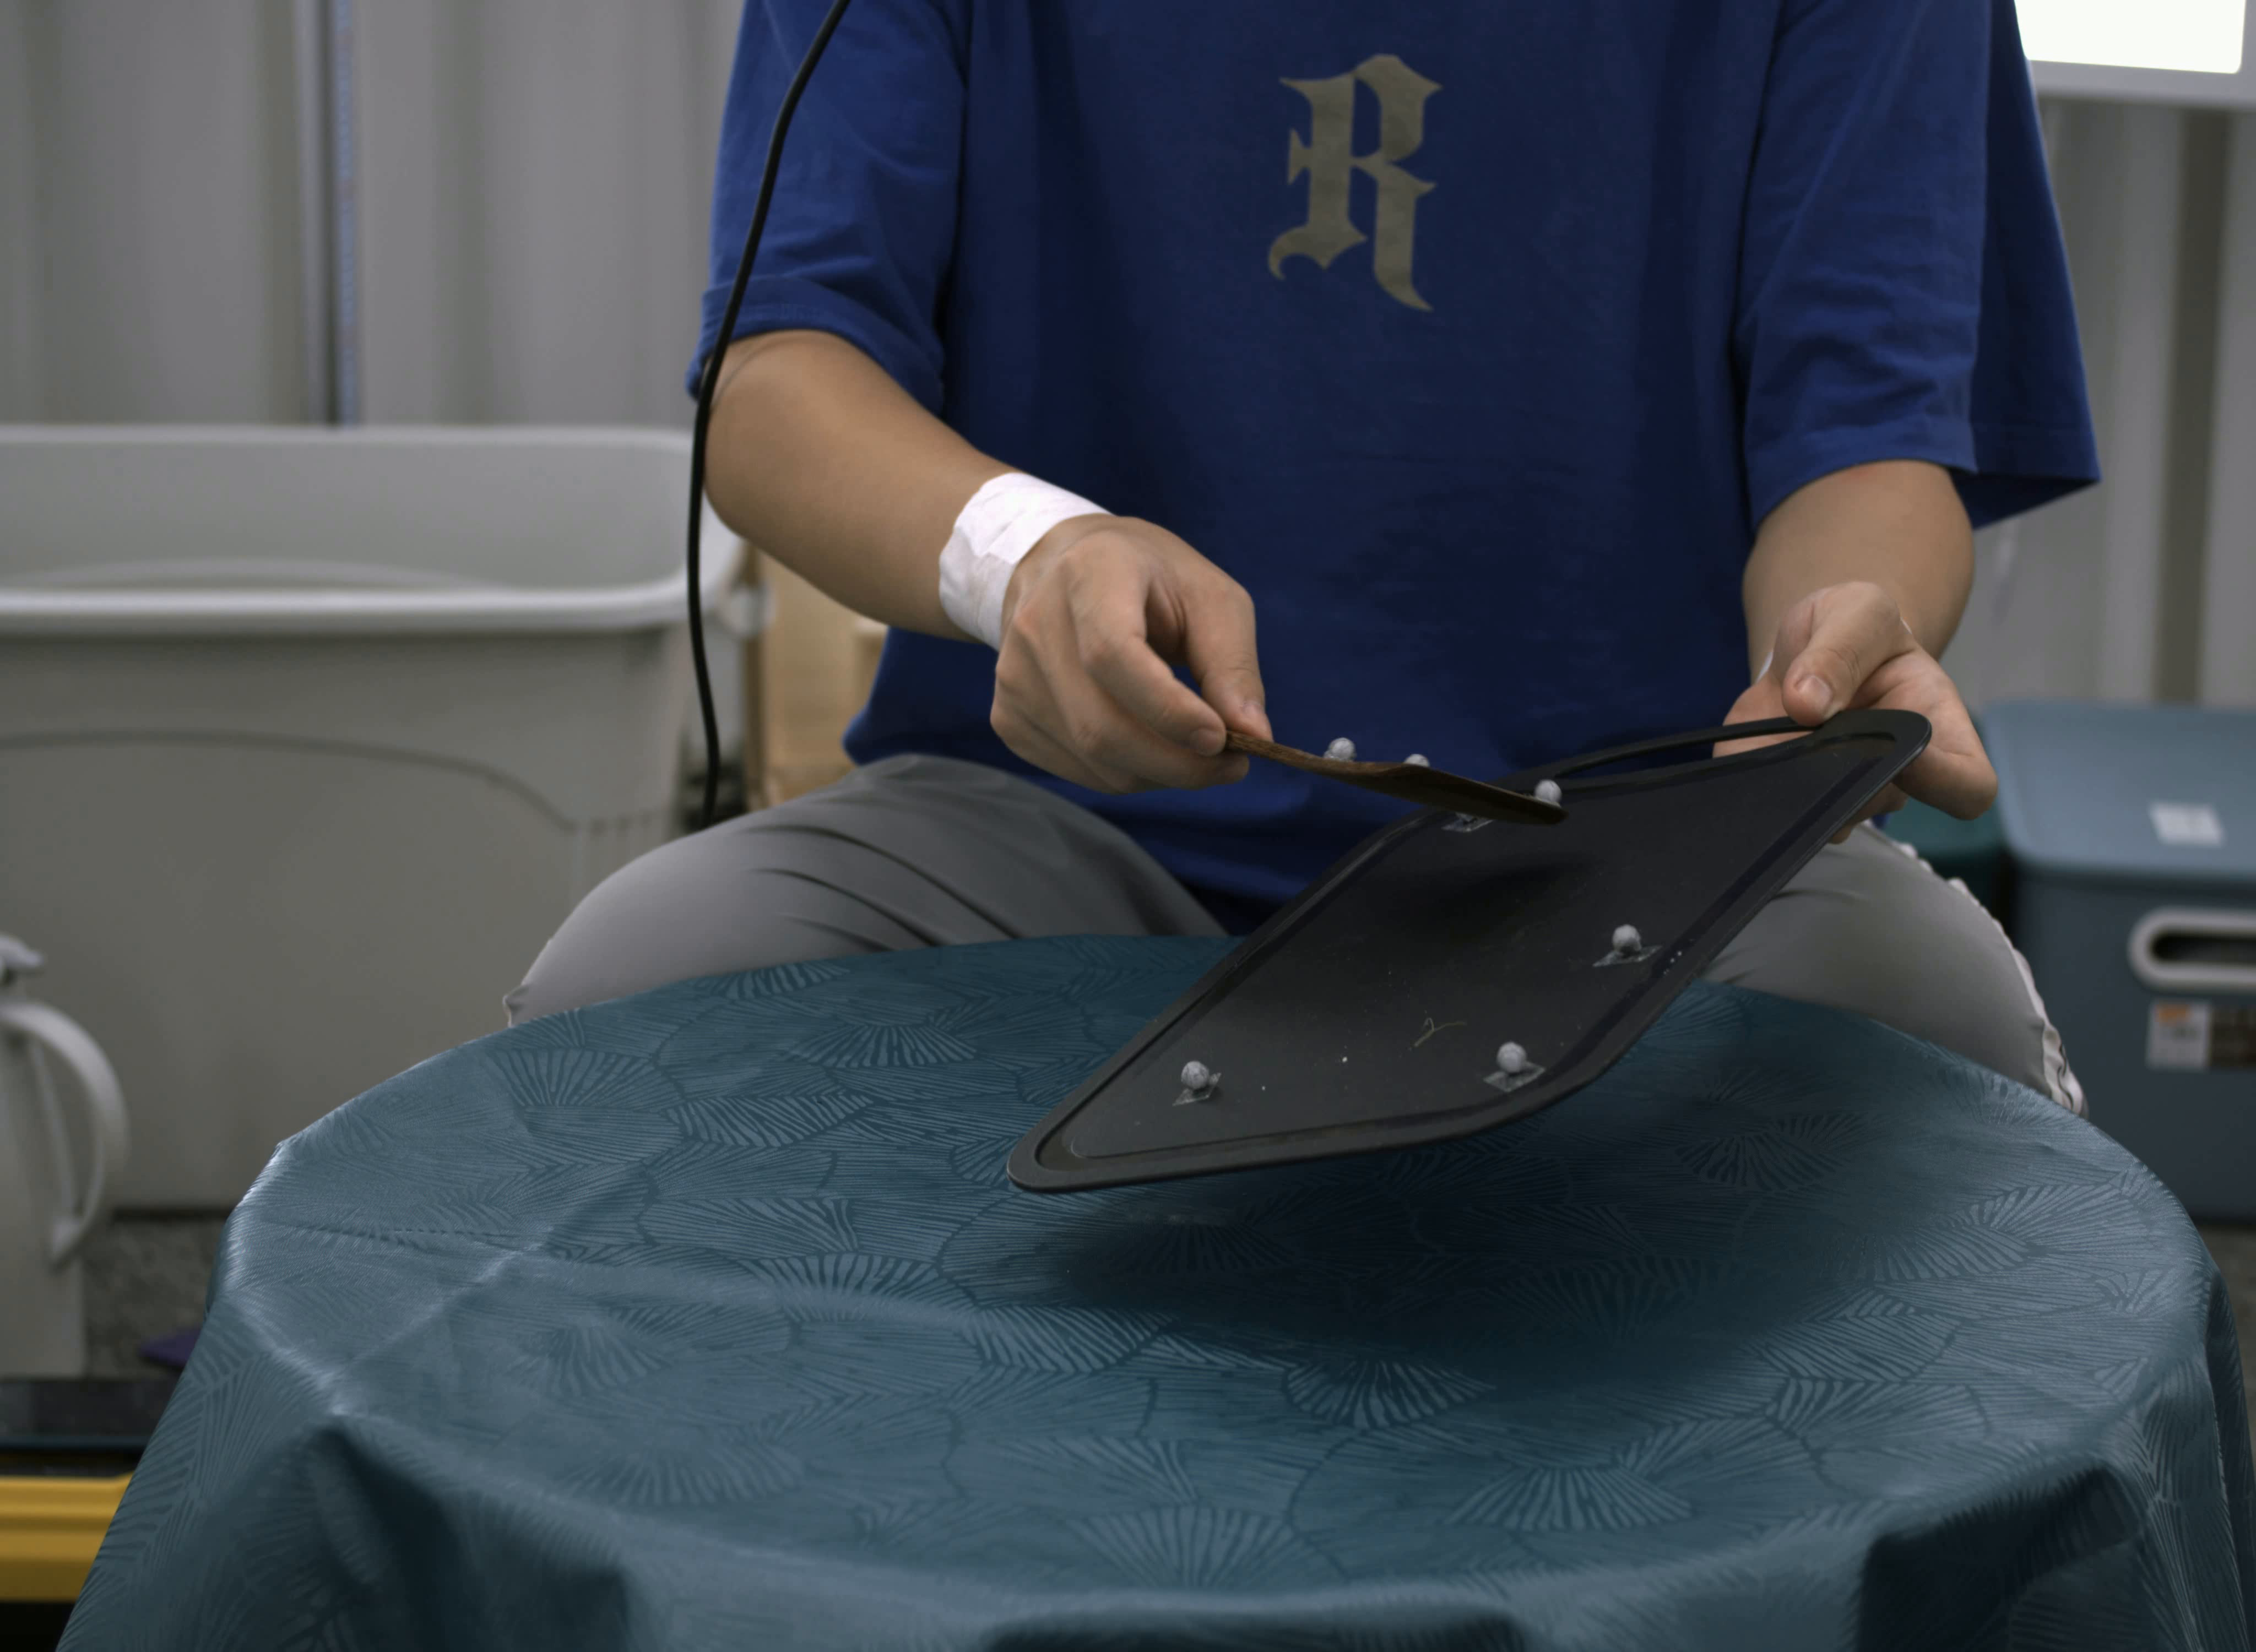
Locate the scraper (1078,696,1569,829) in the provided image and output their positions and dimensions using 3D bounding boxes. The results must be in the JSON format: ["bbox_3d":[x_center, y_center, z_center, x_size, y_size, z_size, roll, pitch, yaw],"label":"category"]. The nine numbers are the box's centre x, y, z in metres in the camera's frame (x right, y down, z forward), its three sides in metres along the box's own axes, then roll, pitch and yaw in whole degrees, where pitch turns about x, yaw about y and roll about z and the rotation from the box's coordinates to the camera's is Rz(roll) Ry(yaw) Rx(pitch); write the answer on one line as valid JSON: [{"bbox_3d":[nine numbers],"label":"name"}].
[{"bbox_3d":[0.052,-0.023,1.686,0.076,0.011,0.208,18,-2,-38],"label":"scraper"}]

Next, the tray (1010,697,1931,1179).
[{"bbox_3d":[0.111,0.027,1.603,0.209,0.010,0.325,-10,18,36],"label":"tray"}]
